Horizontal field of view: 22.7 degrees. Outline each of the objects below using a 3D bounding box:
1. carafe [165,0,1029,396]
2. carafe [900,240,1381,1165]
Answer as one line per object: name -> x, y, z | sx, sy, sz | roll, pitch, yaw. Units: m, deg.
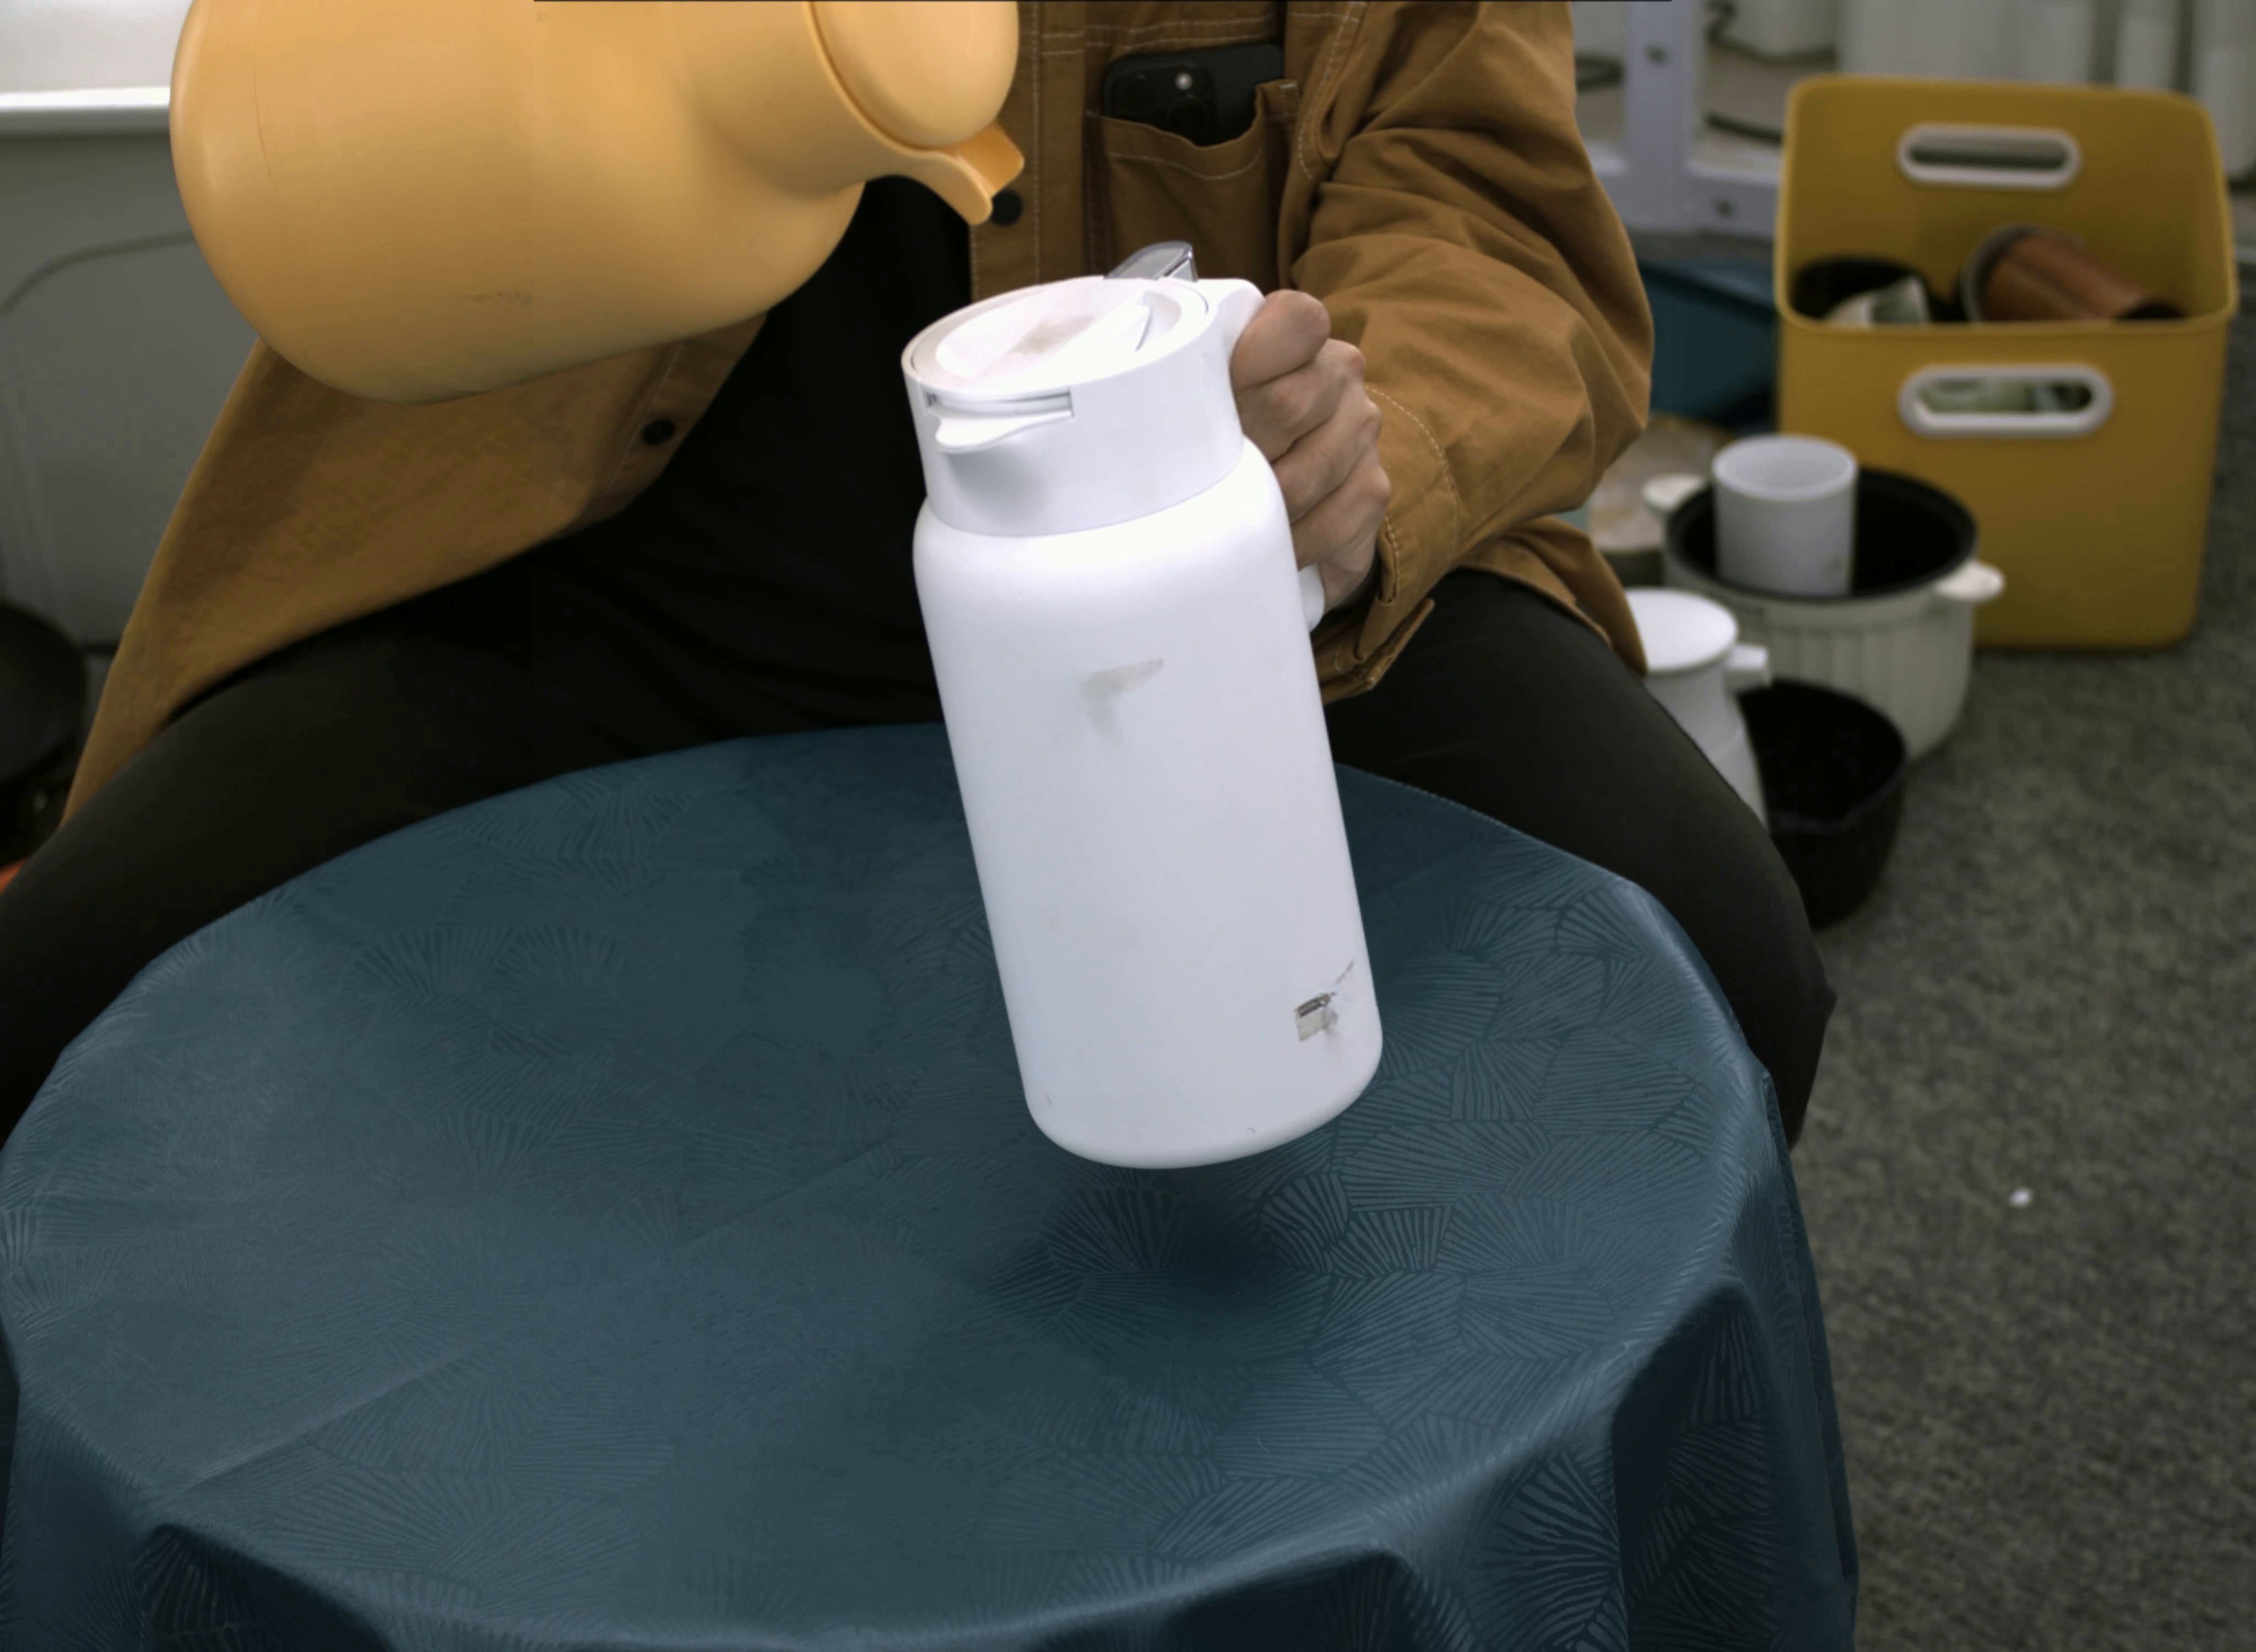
carafe -> -0.163, -0.245, 1.708 | 0.257, 0.201, 0.166 | -11, 29, 31
carafe -> 0.009, -0.042, 1.774 | 0.122, 0.267, 0.175 | 0, 24, 31
